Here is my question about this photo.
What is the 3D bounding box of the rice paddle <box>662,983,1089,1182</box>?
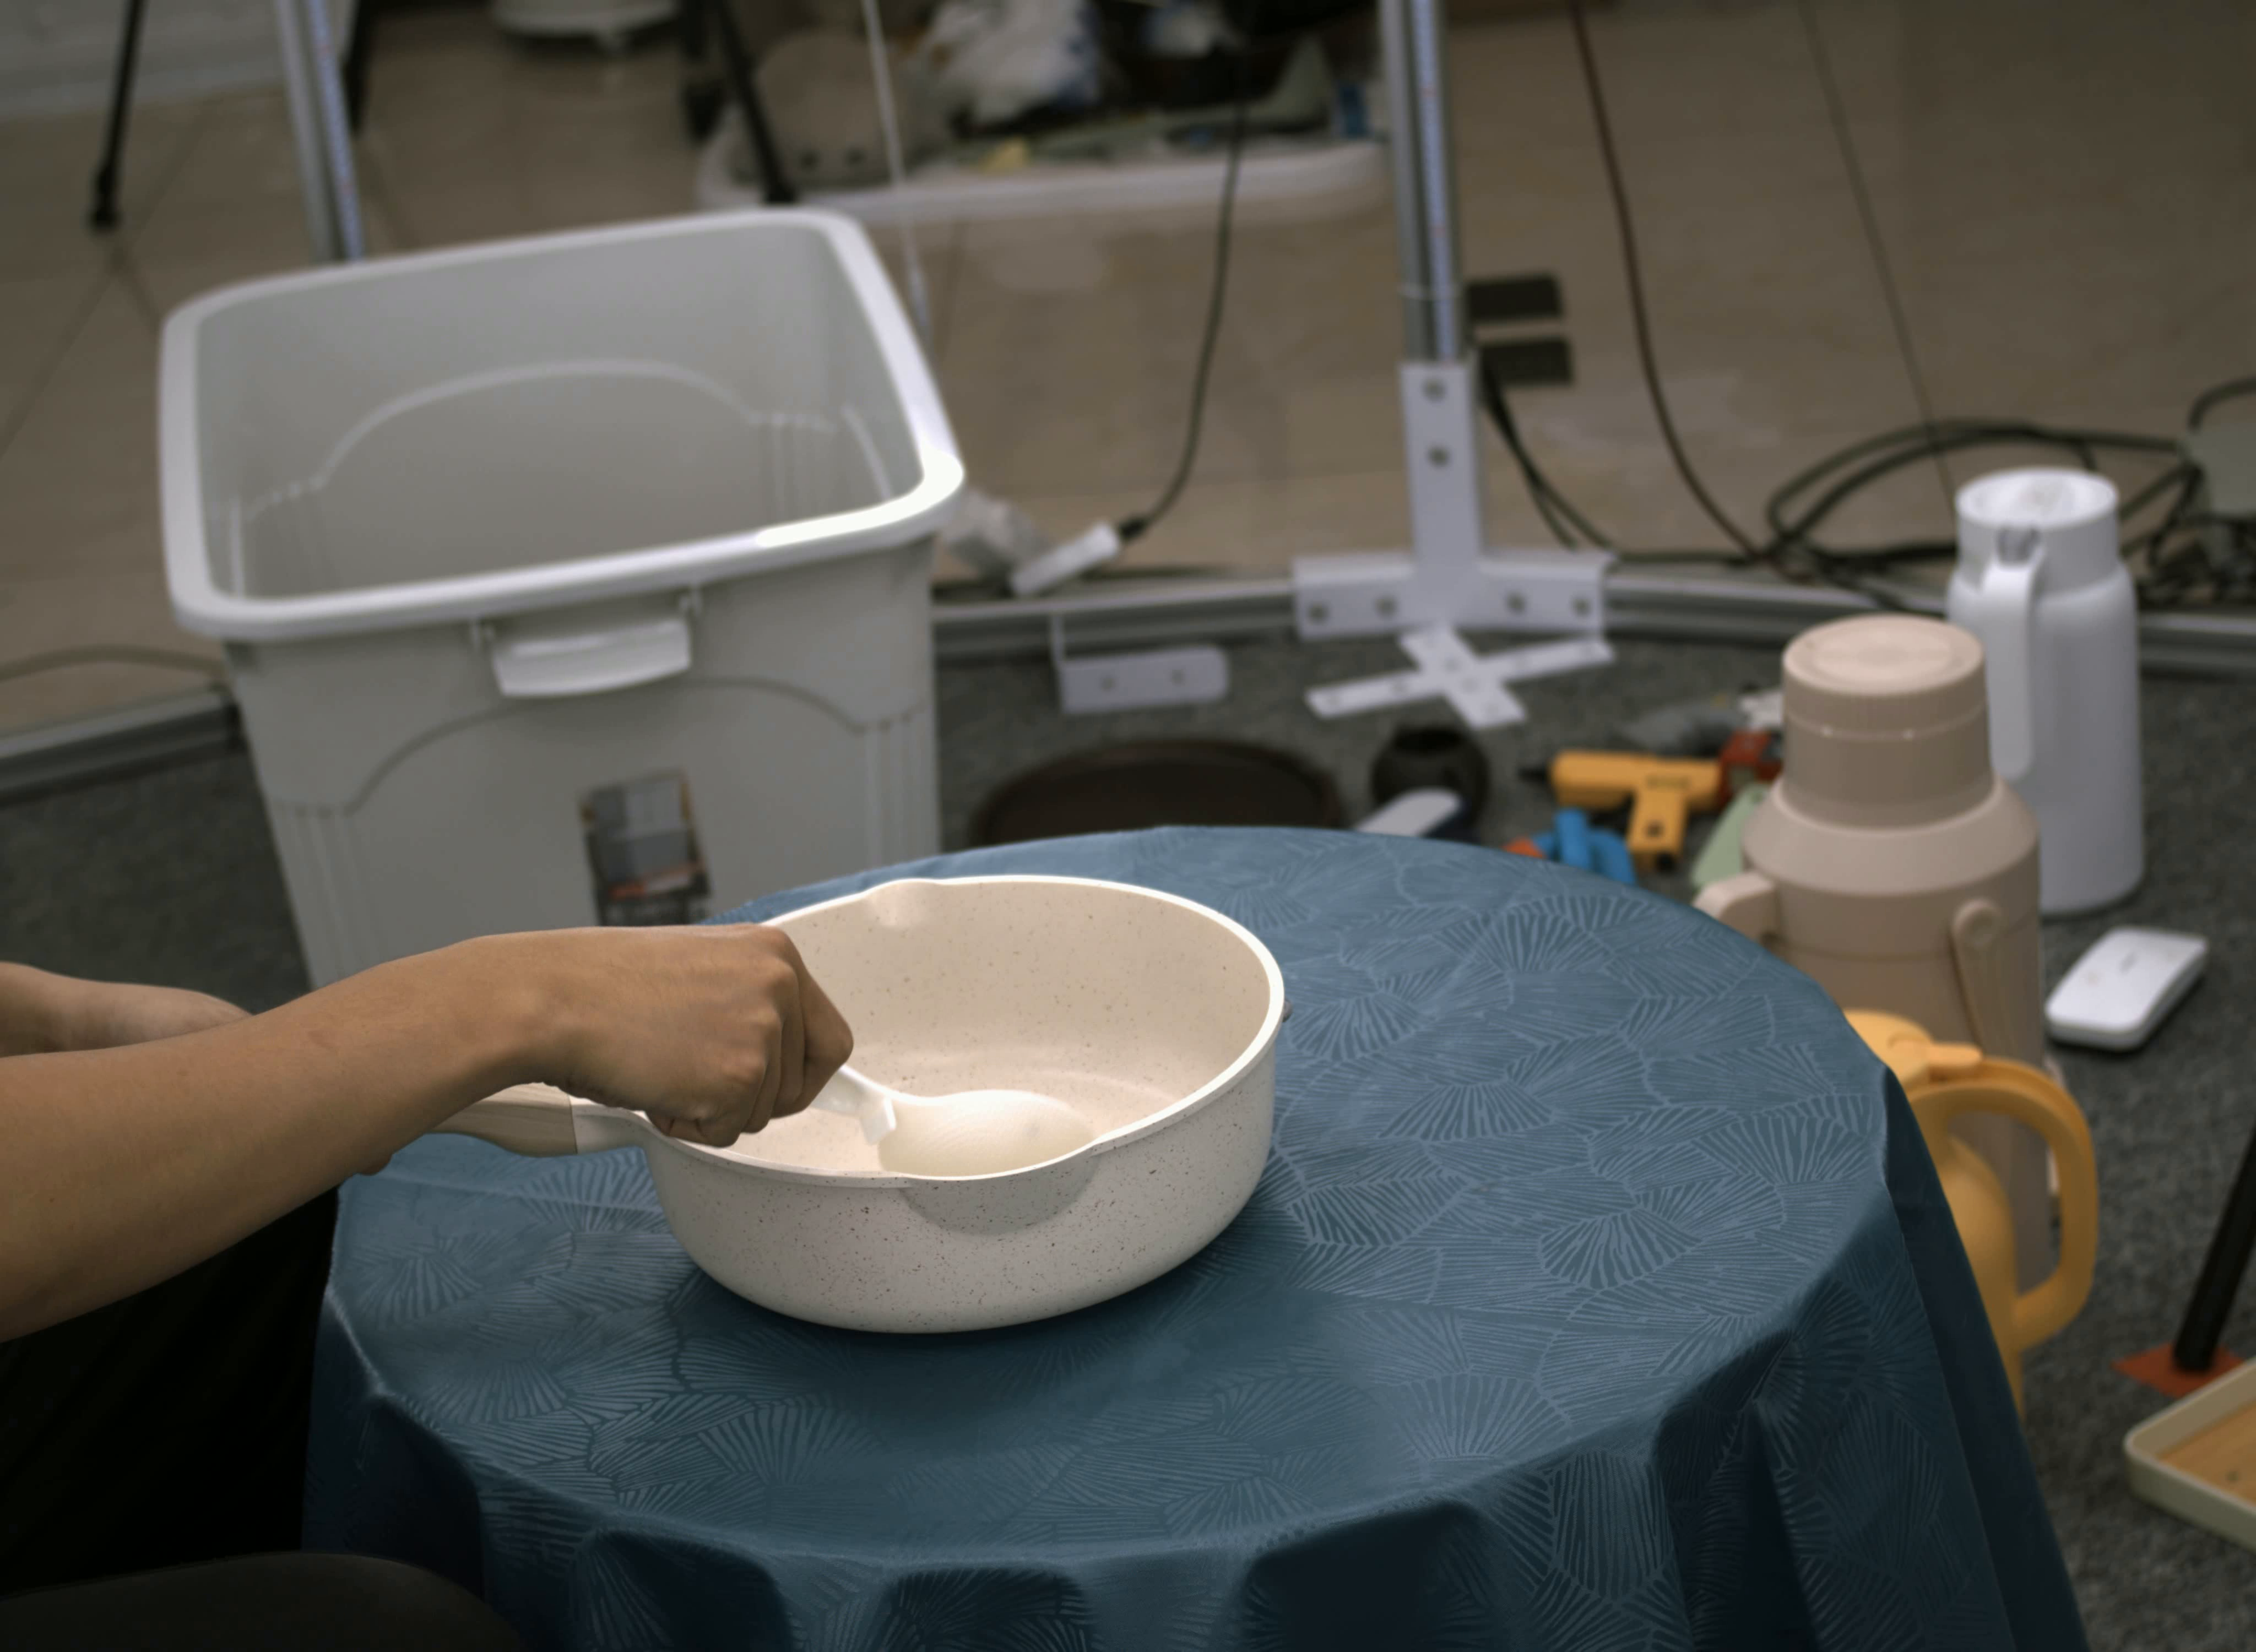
[{"bbox_3d":[-0.088,0.099,2.038,0.069,0.207,0.029,-37,52,23],"label":"rice paddle"}]

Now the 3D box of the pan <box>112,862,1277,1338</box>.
[{"bbox_3d":[-0.155,0.116,2.123,0.434,0.104,0.259,-10,27,-7],"label":"pan"}]
